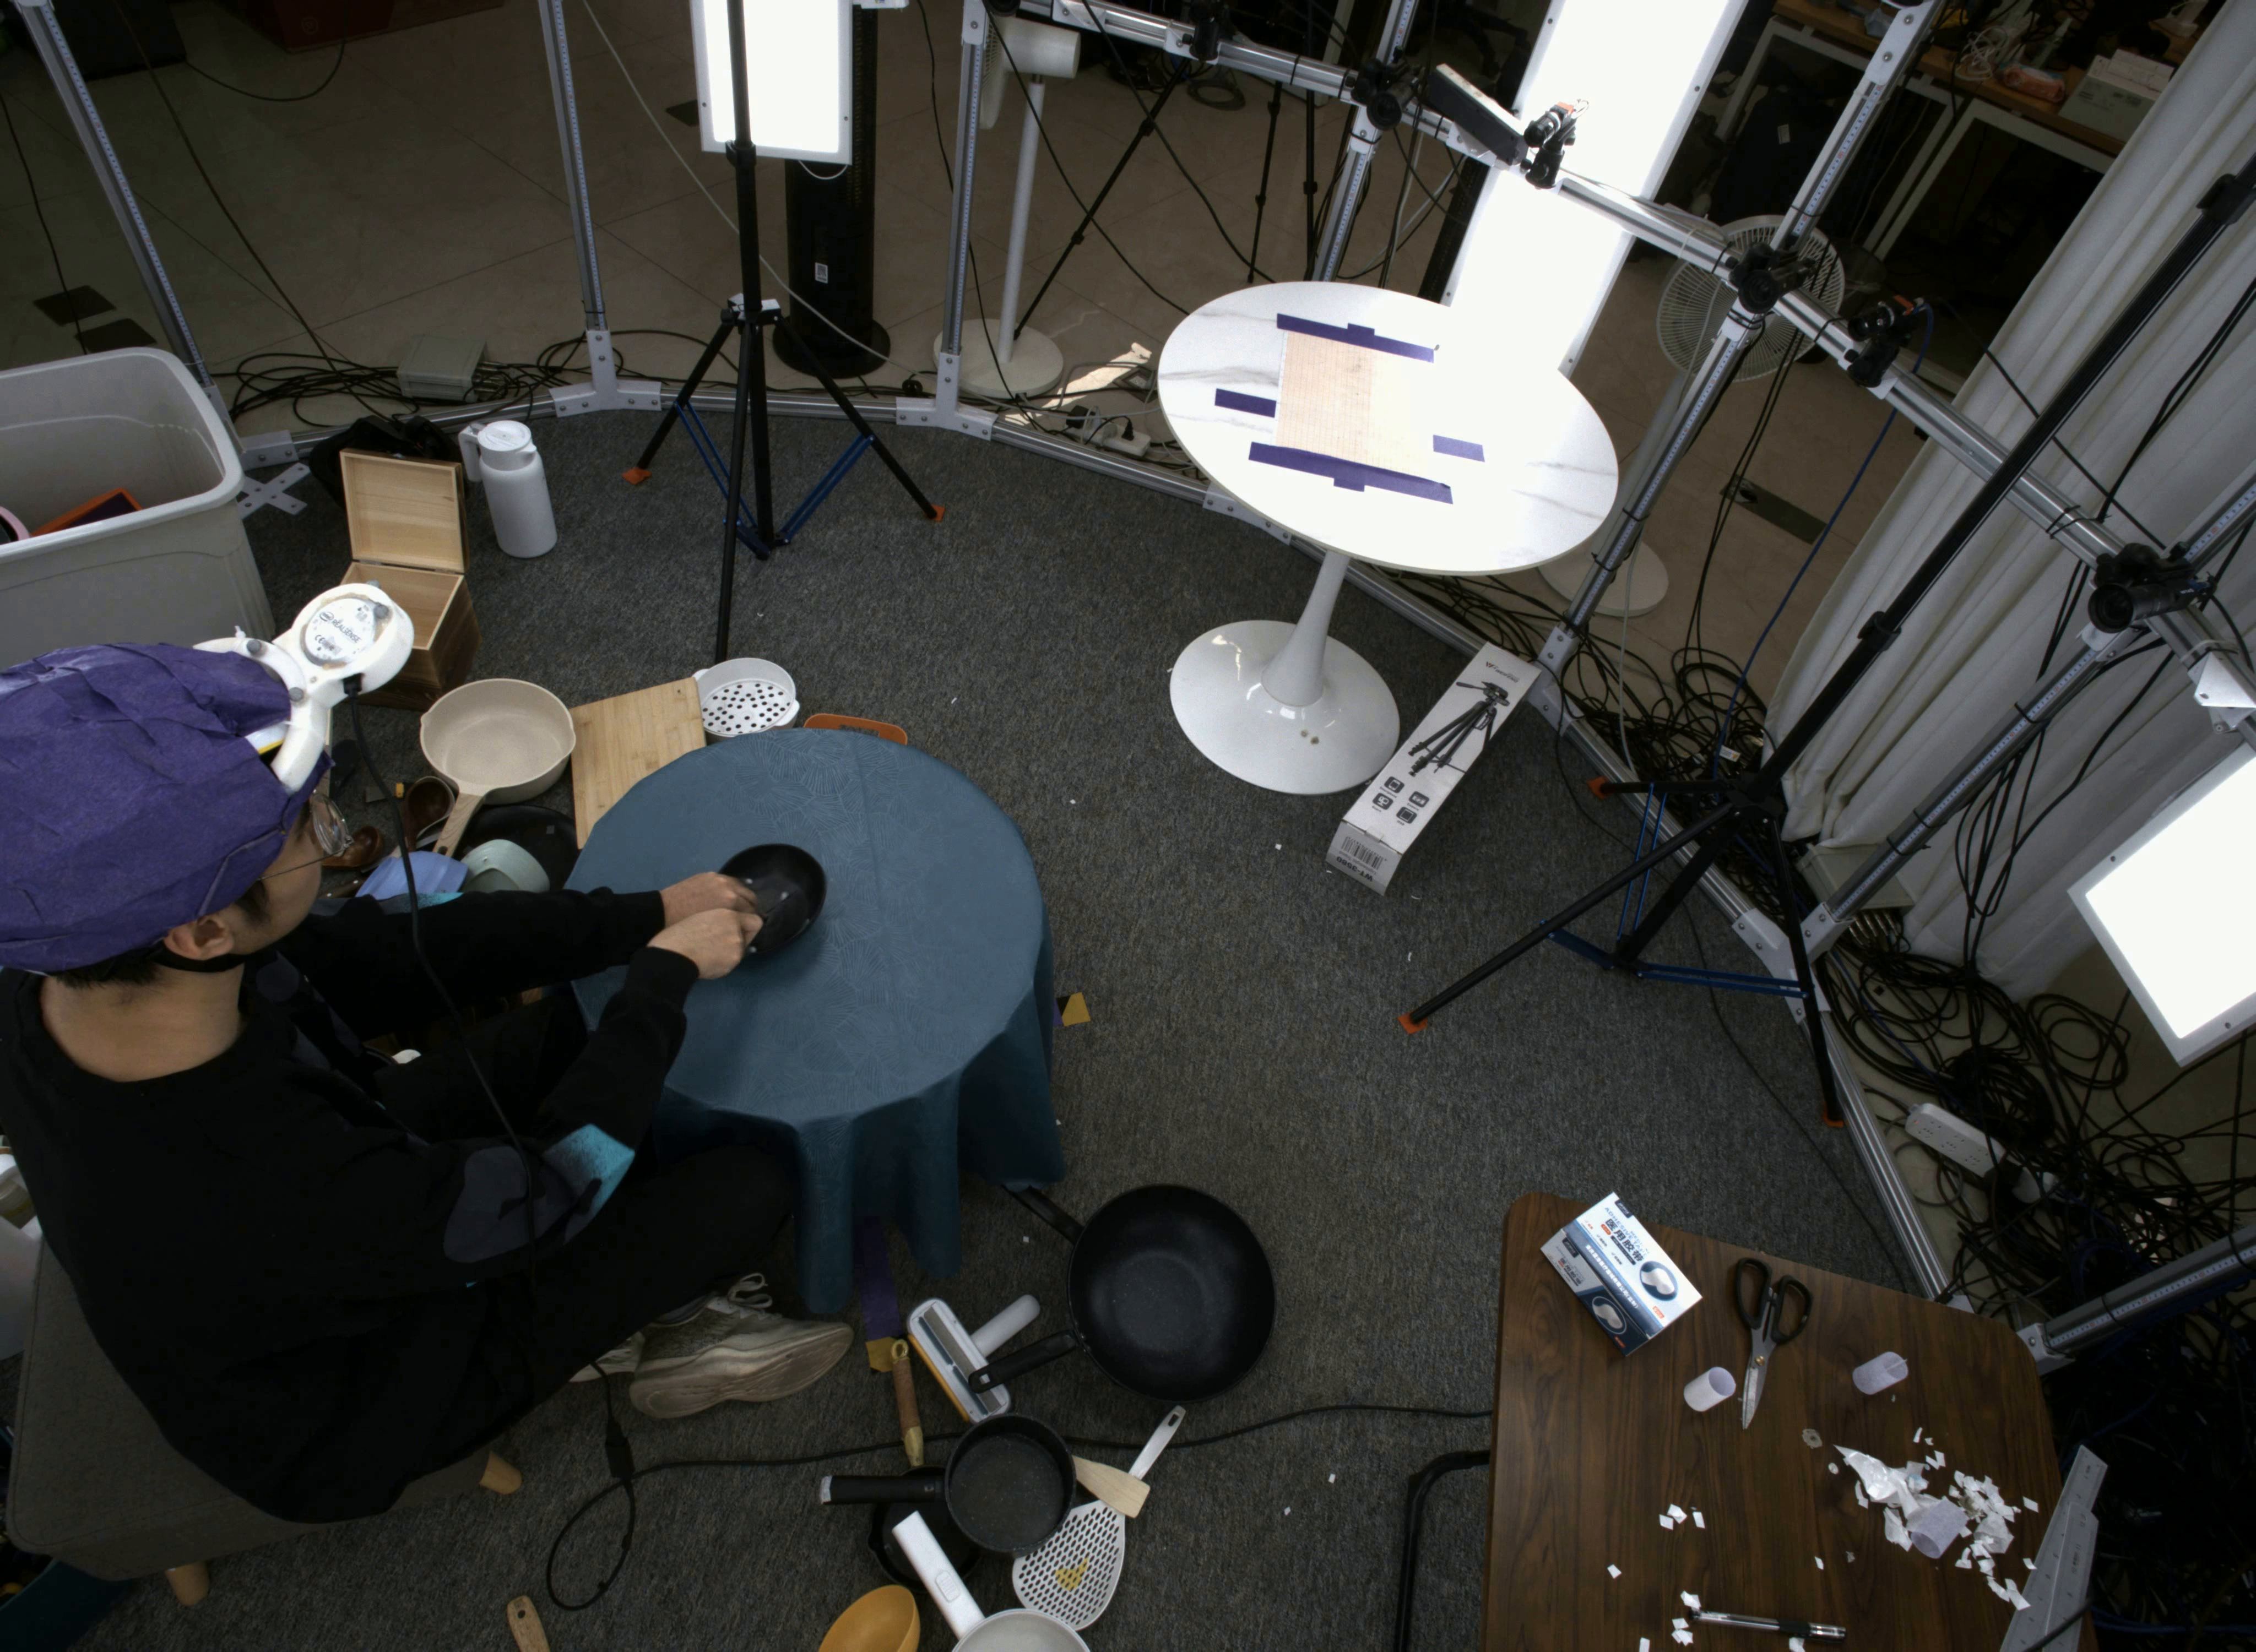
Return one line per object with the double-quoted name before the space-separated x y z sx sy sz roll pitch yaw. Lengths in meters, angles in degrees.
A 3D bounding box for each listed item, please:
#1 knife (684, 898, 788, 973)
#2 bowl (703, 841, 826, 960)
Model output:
"knife" -0.445 0.117 1.489 0.017 0.026 0.225 50 23 -3
"bowl" -0.444 0.100 1.591 0.136 0.068 0.169 22 53 3
